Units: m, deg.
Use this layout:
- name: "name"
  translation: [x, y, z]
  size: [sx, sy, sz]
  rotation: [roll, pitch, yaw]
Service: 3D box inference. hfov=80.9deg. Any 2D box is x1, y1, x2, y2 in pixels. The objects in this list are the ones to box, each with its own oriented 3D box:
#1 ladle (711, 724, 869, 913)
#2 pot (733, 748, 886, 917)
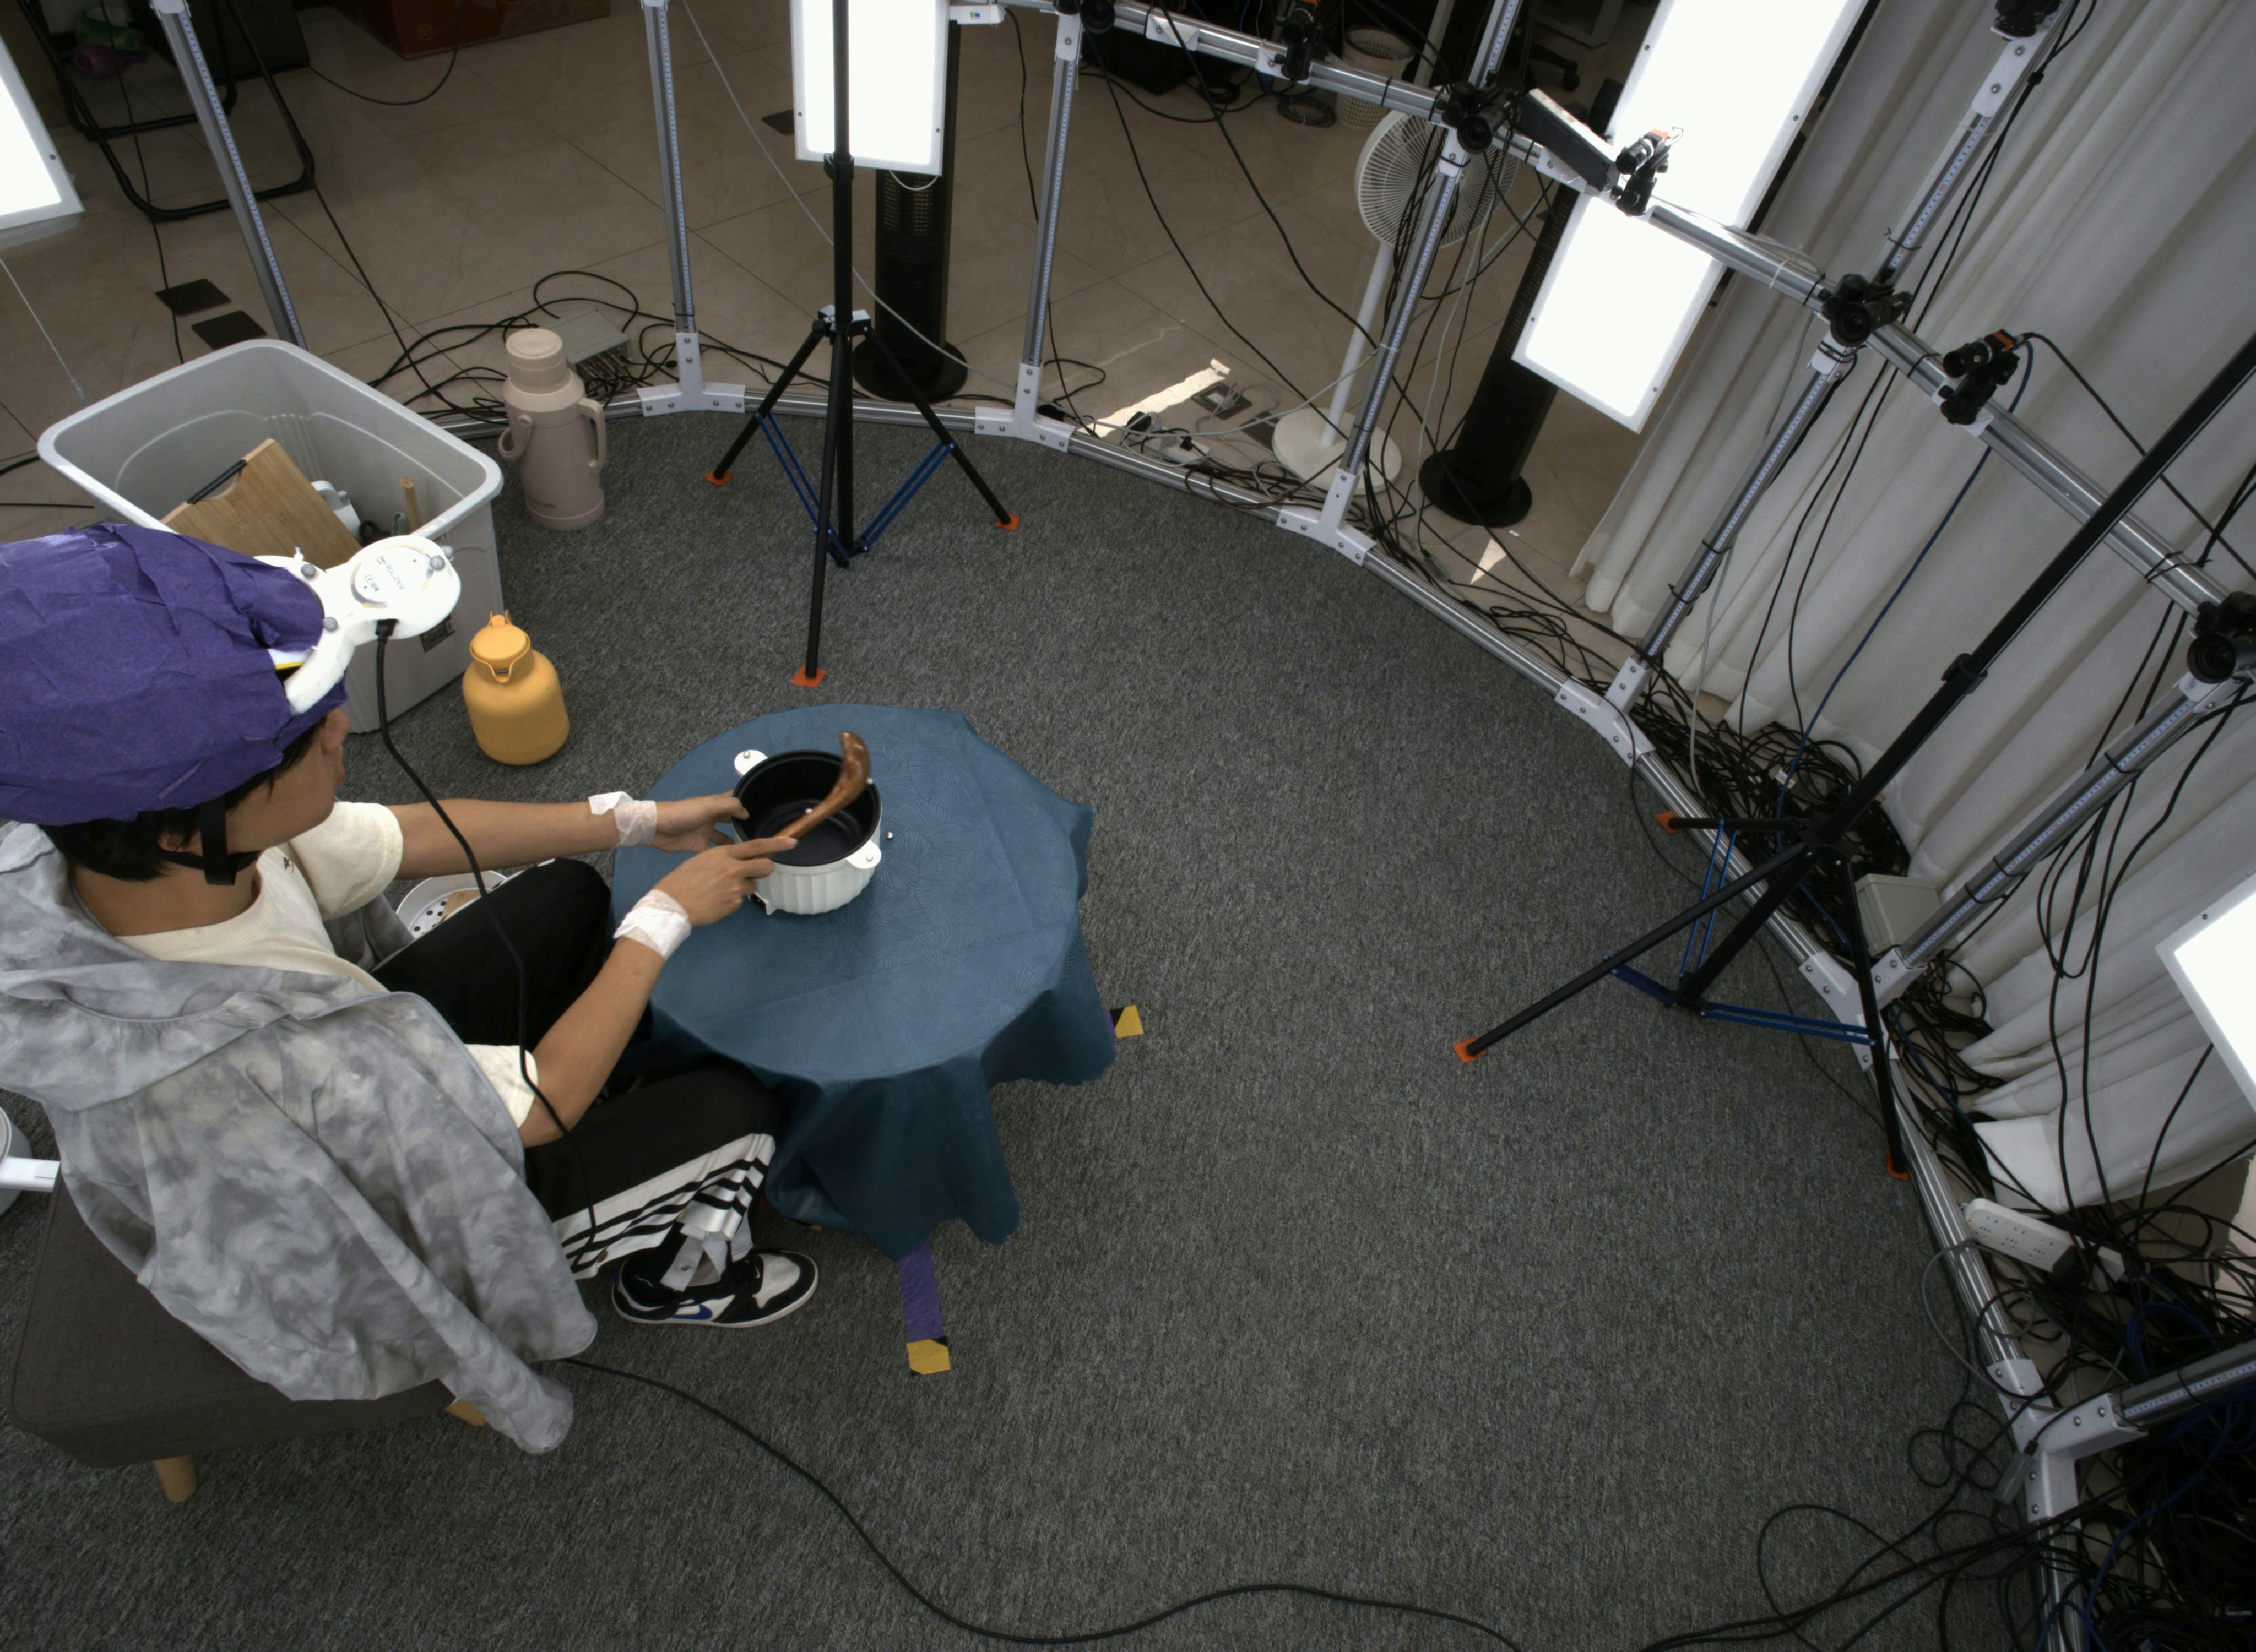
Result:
- name: "ladle"
  translation: [-0.403, -0.015, 1.519]
  size: [0.074, 0.084, 0.274]
  rotation: [32, 61, 23]
- name: "pot"
  translation: [-0.394, 0.011, 1.636]
  size: [0.236, 0.145, 0.190]
  rotation: [37, 58, 14]
